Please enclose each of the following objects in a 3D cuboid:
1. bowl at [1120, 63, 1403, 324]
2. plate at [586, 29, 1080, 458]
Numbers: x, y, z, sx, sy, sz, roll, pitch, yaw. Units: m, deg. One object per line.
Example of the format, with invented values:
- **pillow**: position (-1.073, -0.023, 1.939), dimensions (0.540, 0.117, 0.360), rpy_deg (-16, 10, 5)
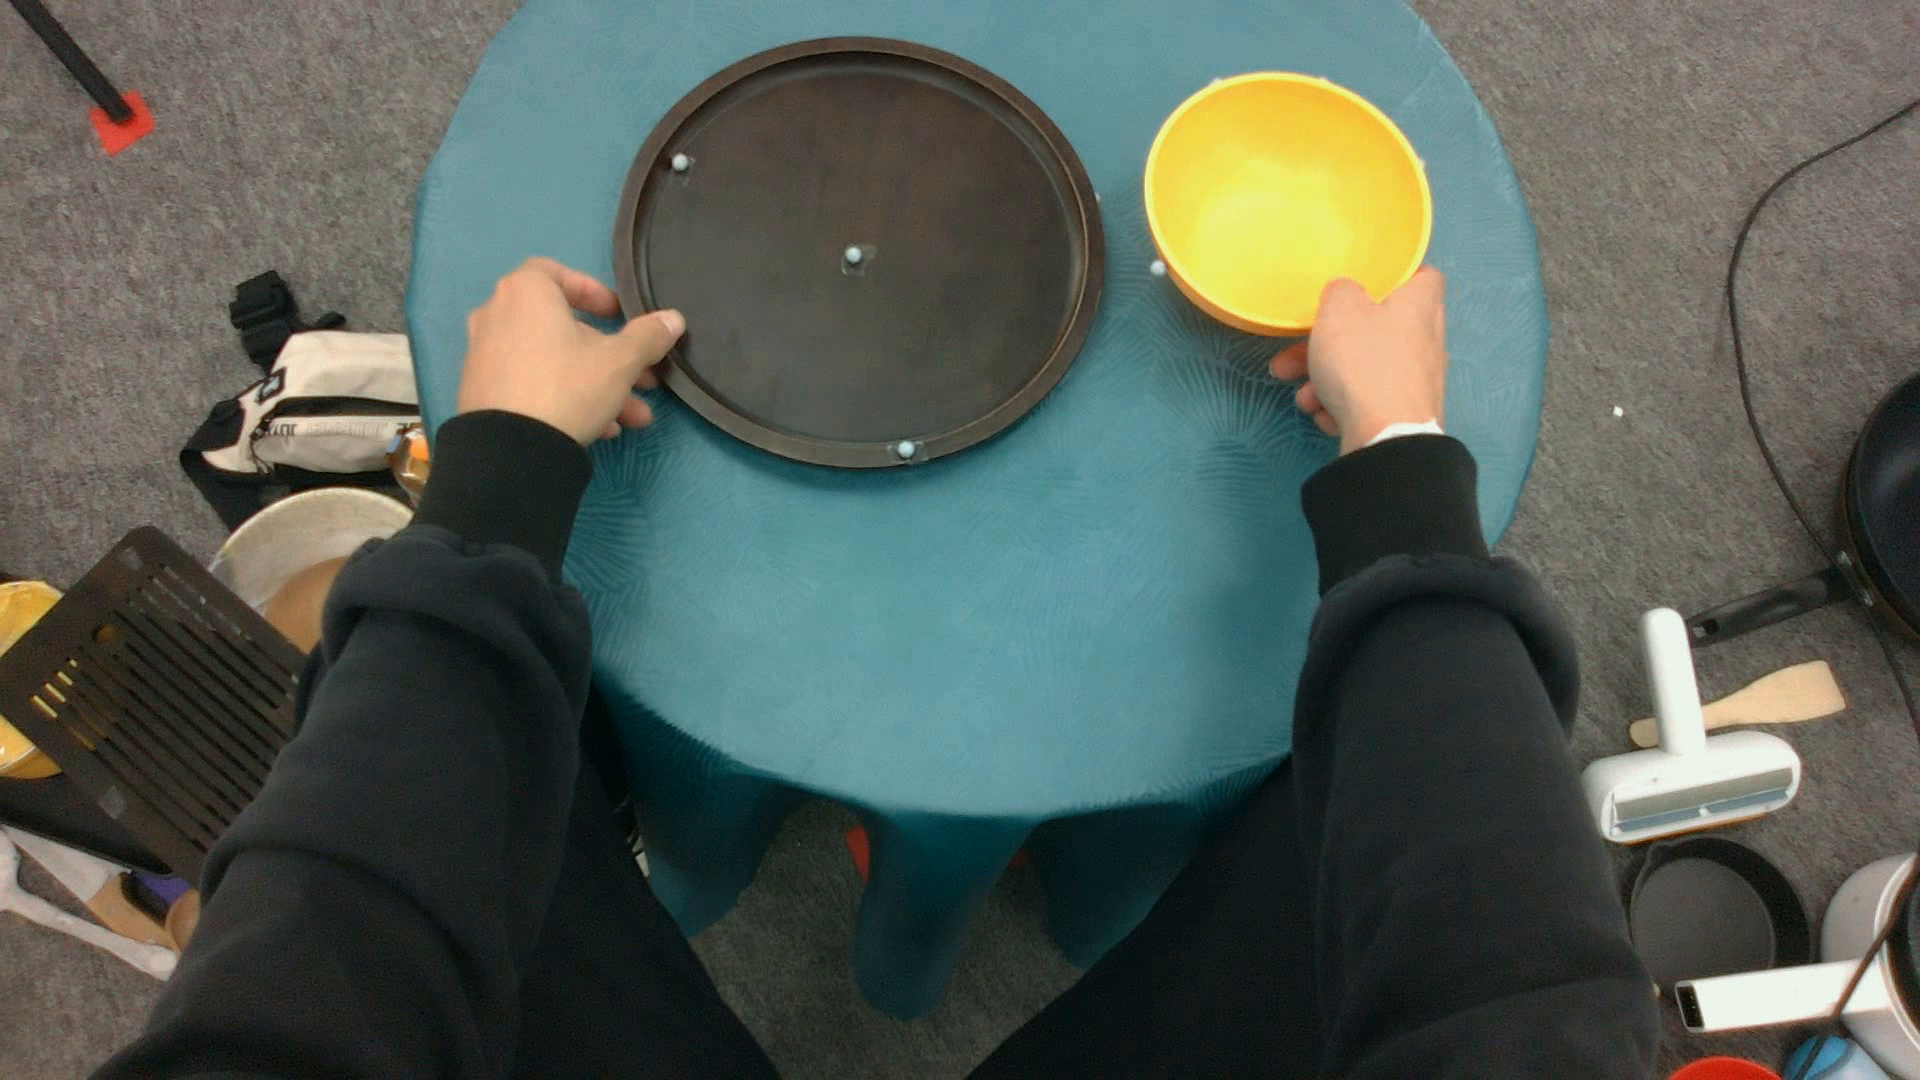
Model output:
- **bowl**: position (0.151, -0.171, 0.721), dimensions (0.145, 0.060, 0.145), rpy_deg (1, 75, -3)
- **plate**: position (-0.064, -0.158, 0.715), dimensions (0.255, 0.029, 0.255), rpy_deg (2, 71, -6)
